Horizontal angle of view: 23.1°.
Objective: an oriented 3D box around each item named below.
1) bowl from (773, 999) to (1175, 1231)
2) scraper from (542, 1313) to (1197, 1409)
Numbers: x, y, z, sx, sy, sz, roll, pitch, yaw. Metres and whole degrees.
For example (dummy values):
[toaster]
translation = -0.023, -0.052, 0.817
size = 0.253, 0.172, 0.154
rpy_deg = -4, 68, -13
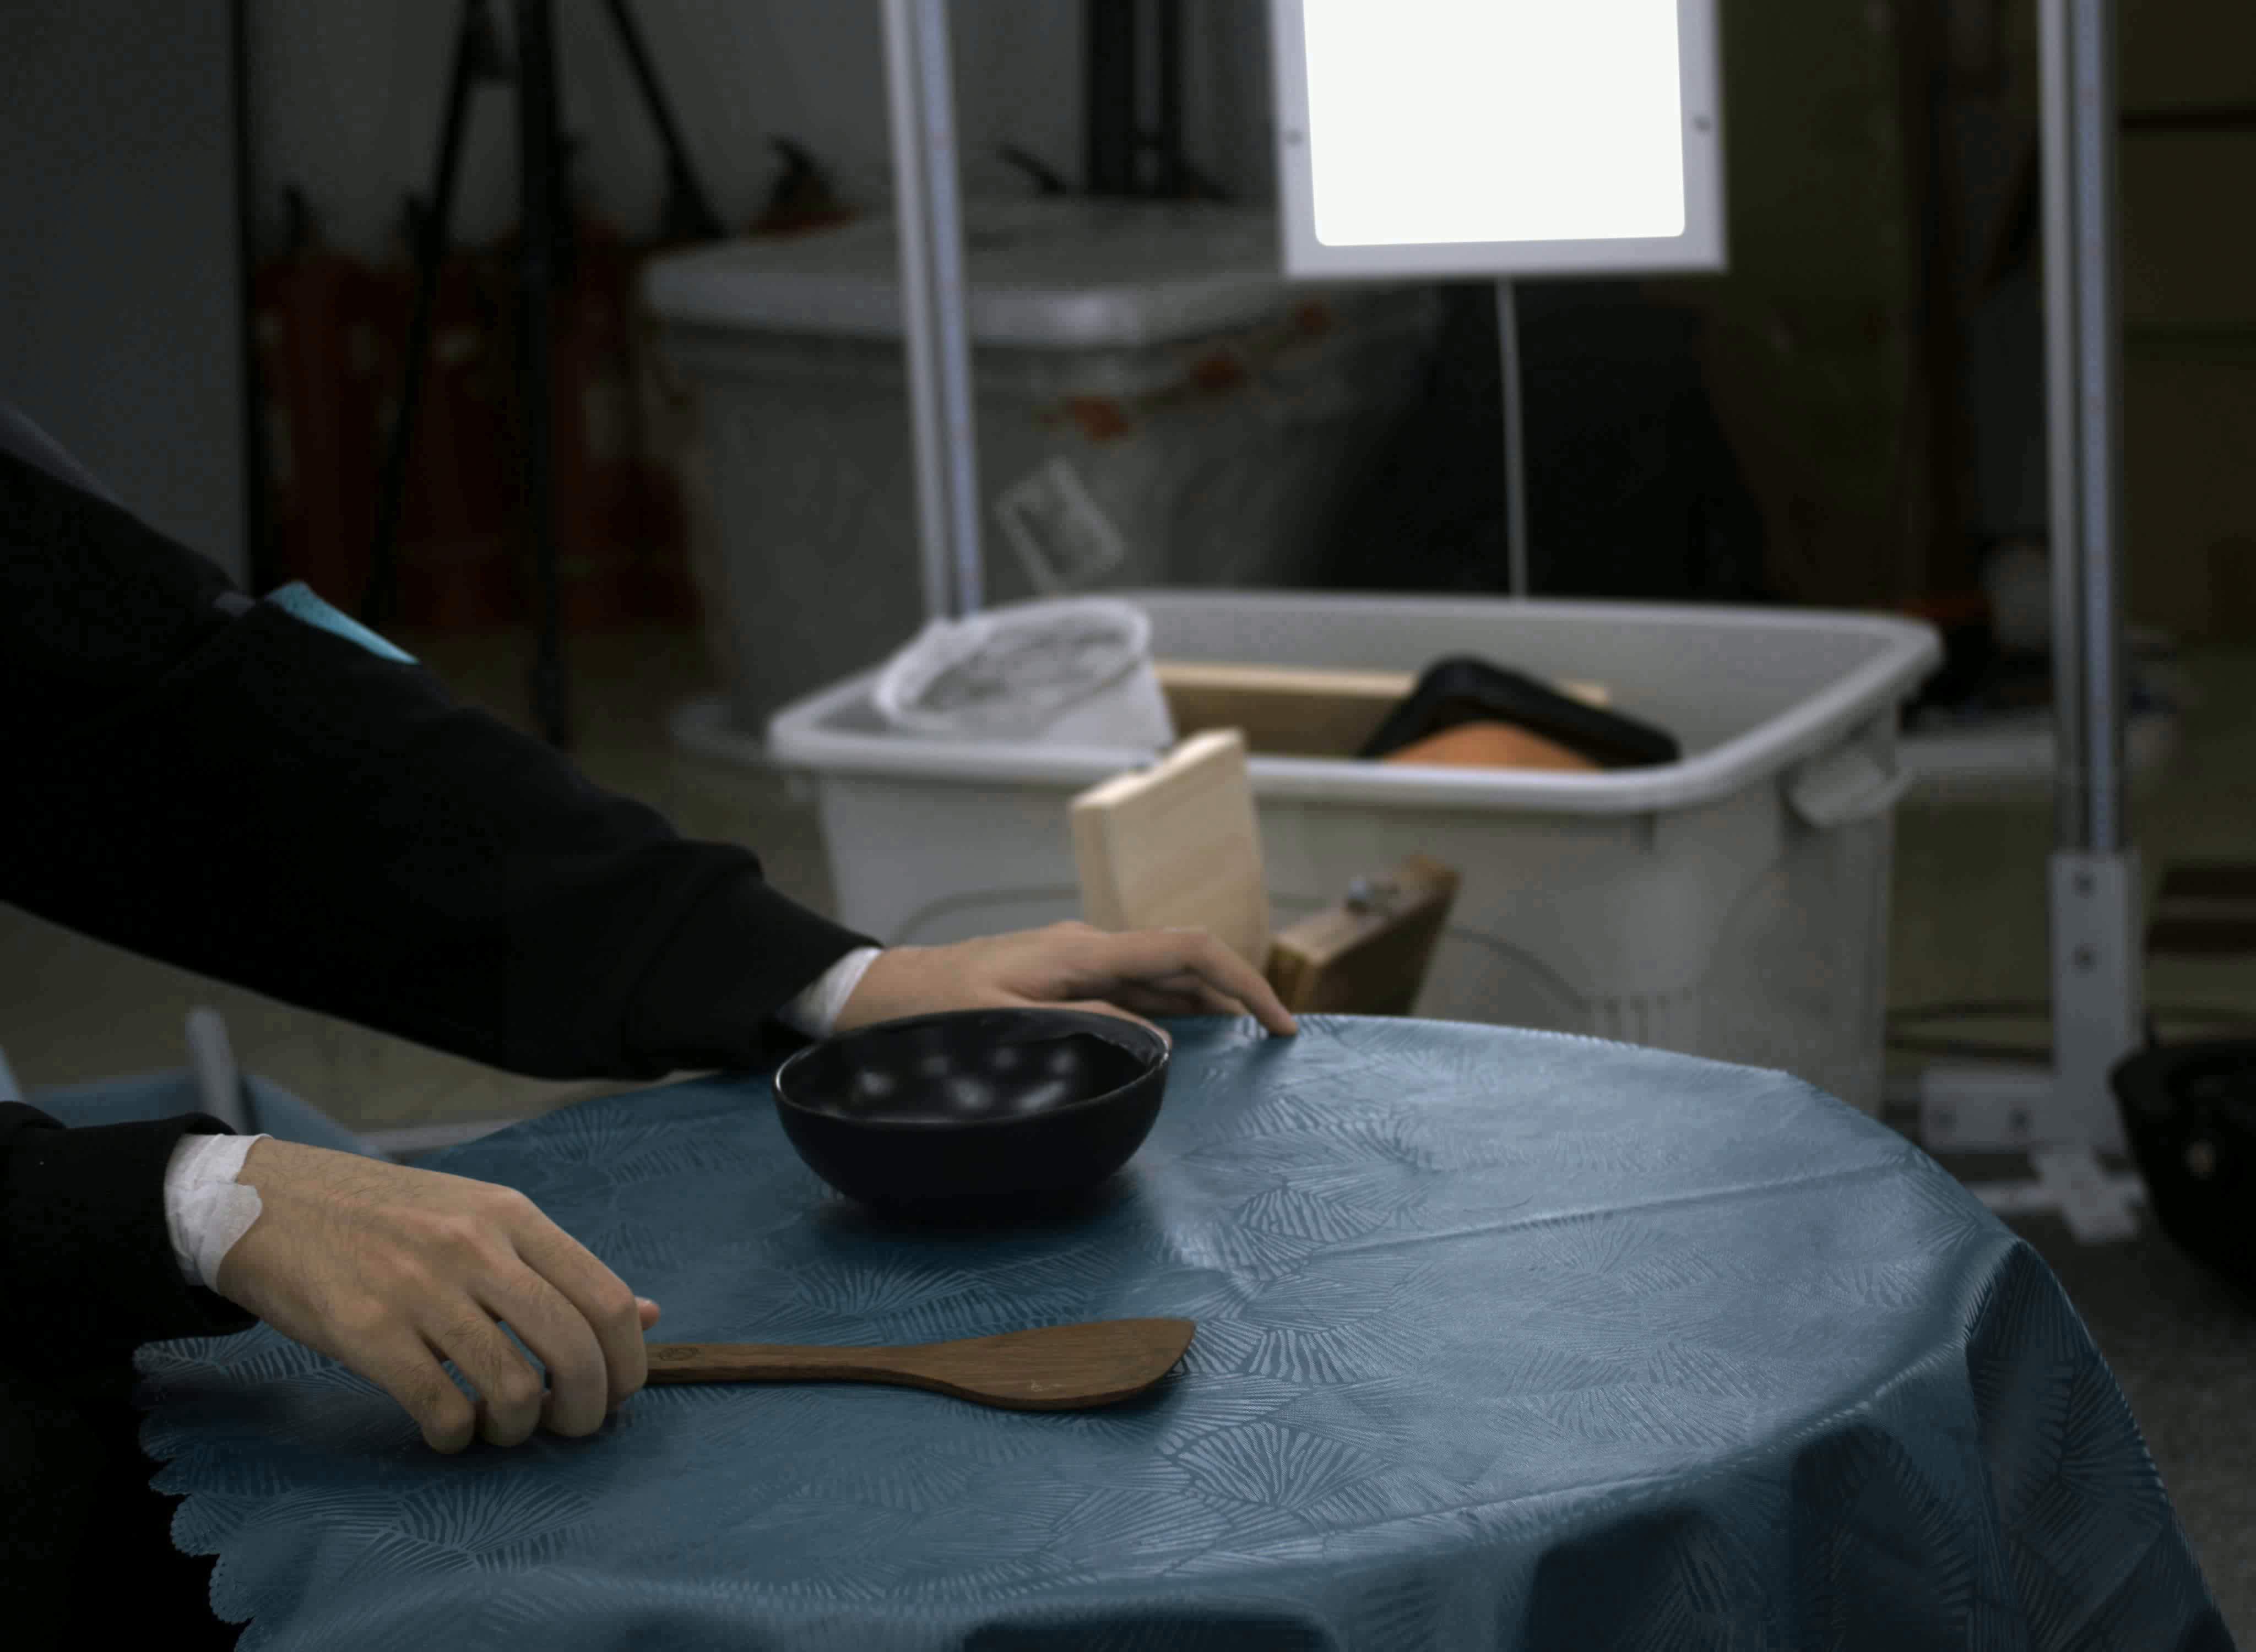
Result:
[bowl]
translation = -0.051, 0.105, 1.903
size = 0.140, 0.050, 0.140
rpy_deg = -6, 16, 0
[scraper]
translation = -0.083, 0.169, 1.737
size = 0.213, 0.011, 0.075
rpy_deg = -2, 13, 16
